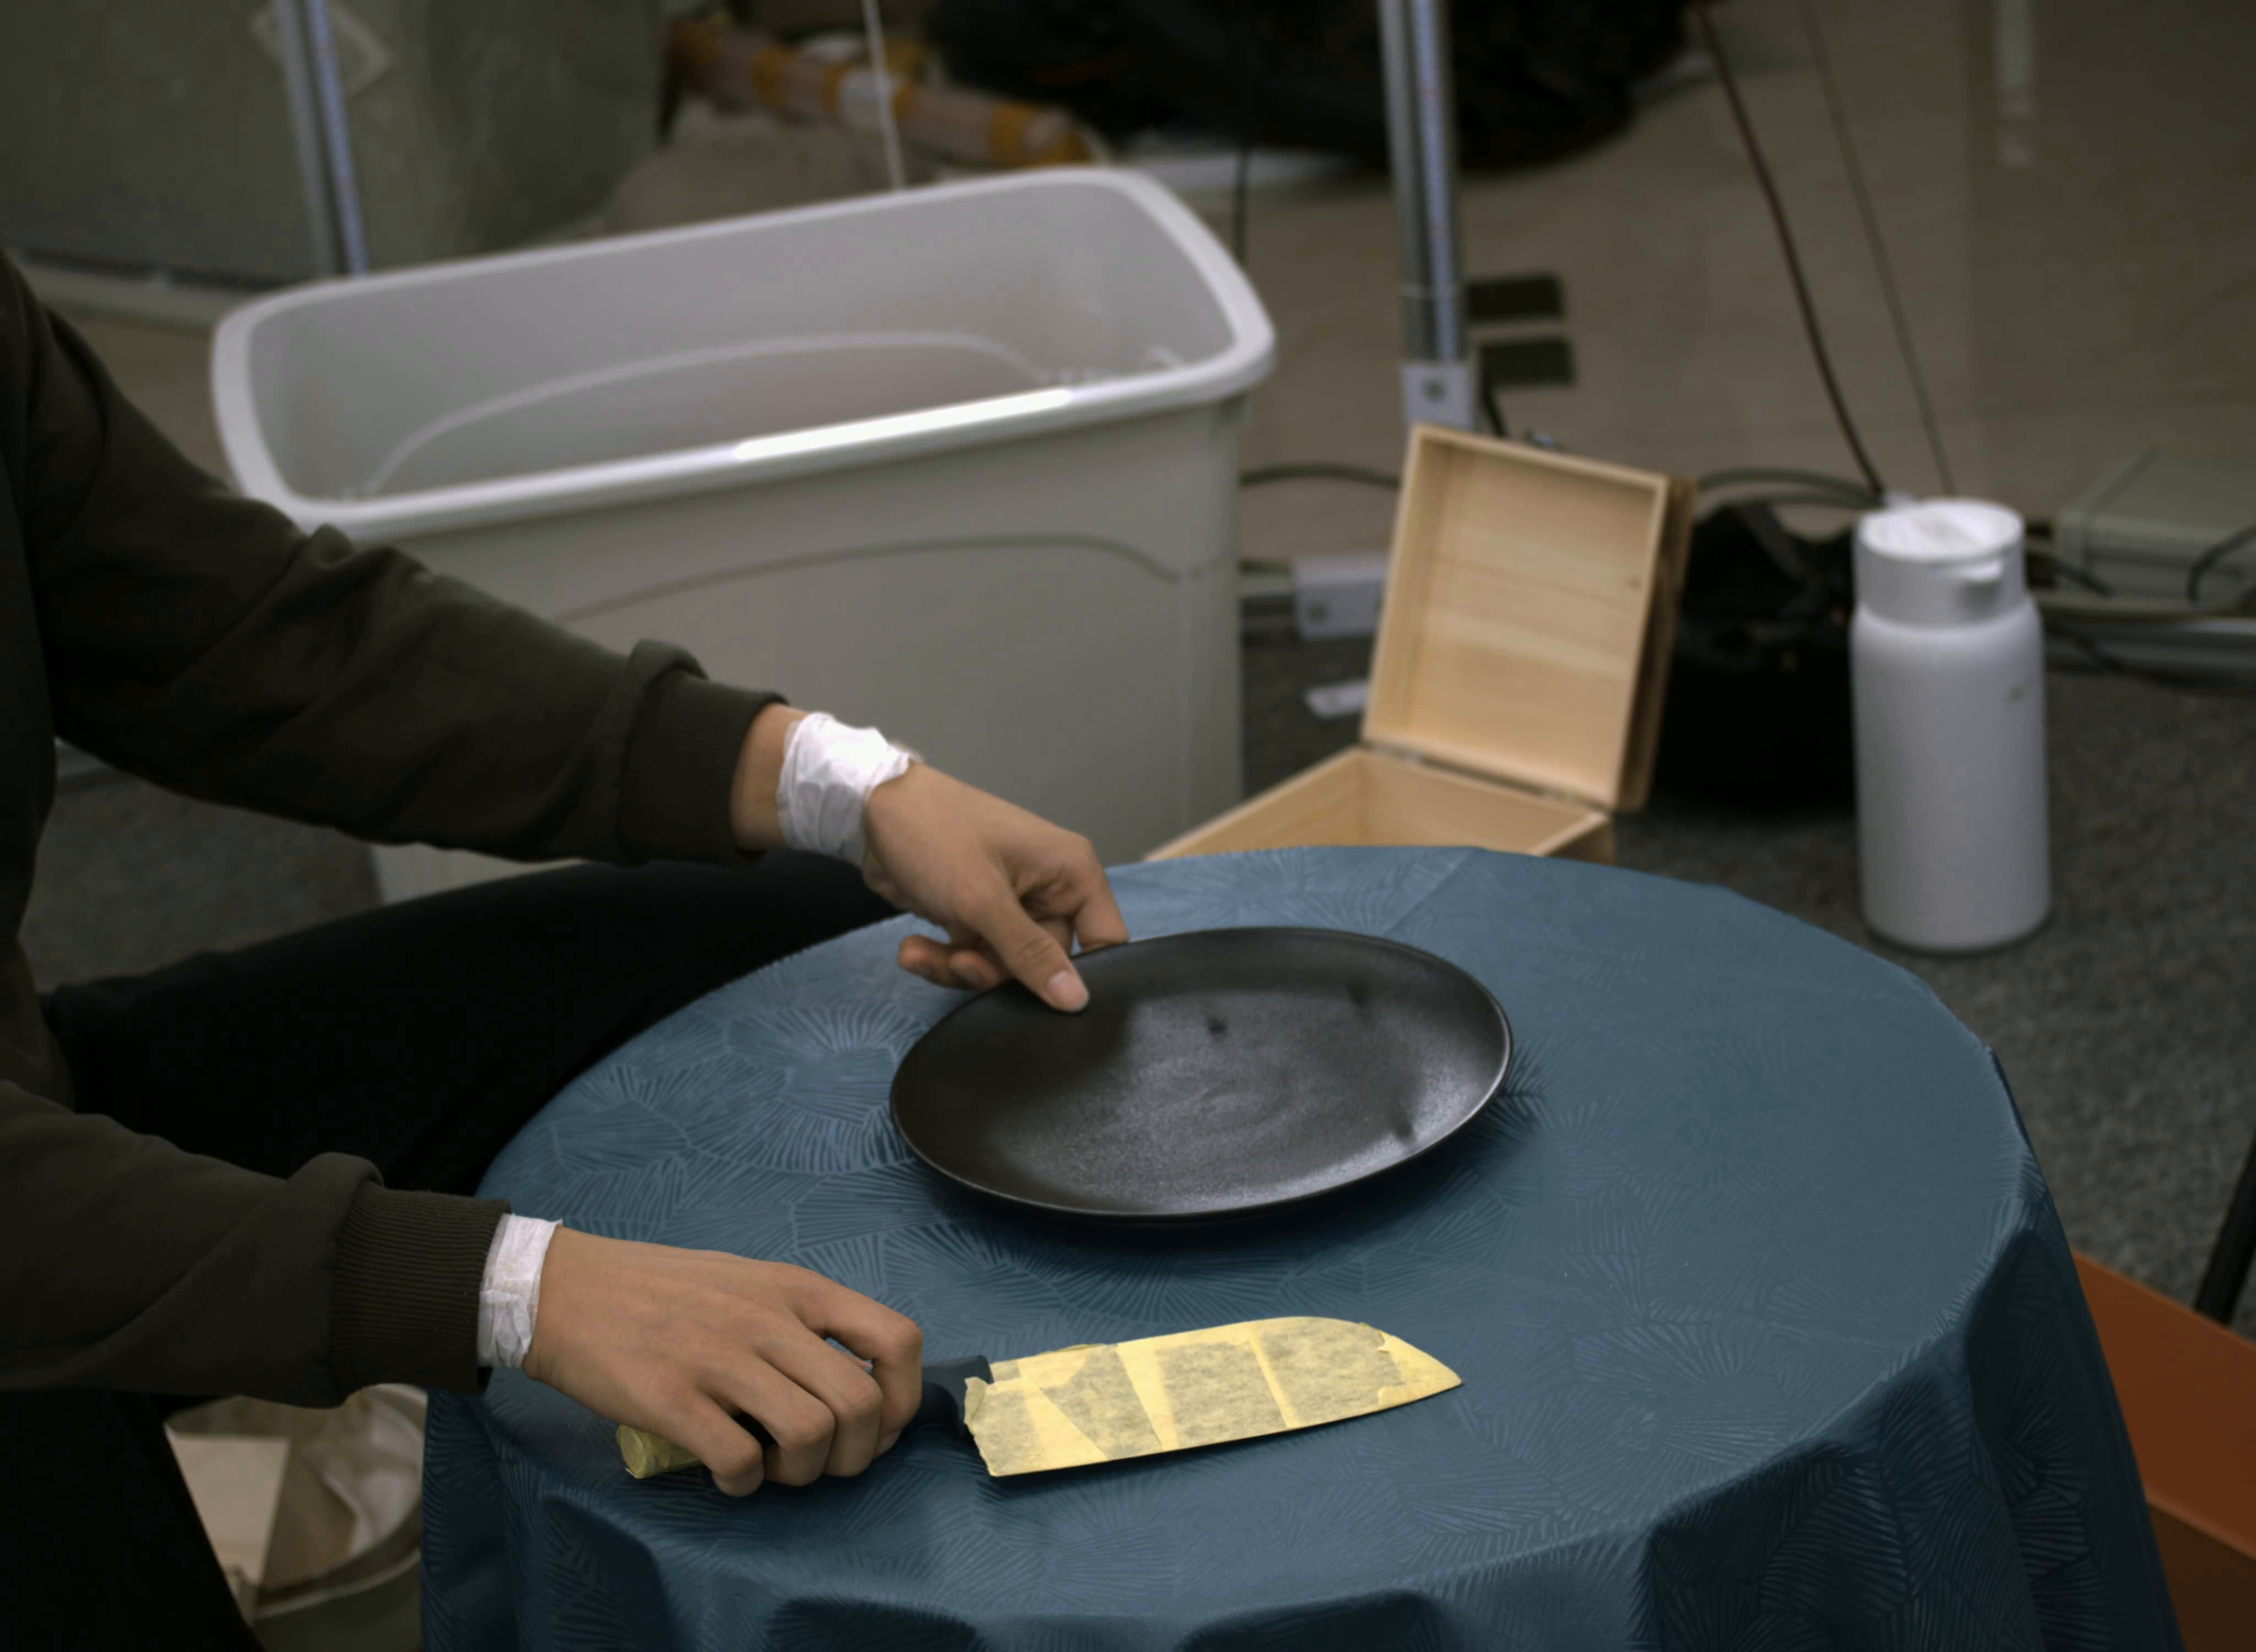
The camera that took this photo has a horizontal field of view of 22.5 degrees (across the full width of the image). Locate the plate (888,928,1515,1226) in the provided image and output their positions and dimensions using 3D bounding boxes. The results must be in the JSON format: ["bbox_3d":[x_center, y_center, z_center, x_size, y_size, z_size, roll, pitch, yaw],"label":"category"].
[{"bbox_3d":[0.029,0.102,2.197,0.244,0.024,0.241,-5,25,3],"label":"plate"}]

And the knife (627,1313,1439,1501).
[{"bbox_3d":[-0.032,0.207,1.996,0.289,0.027,0.080,-9,24,-6],"label":"knife"}]
